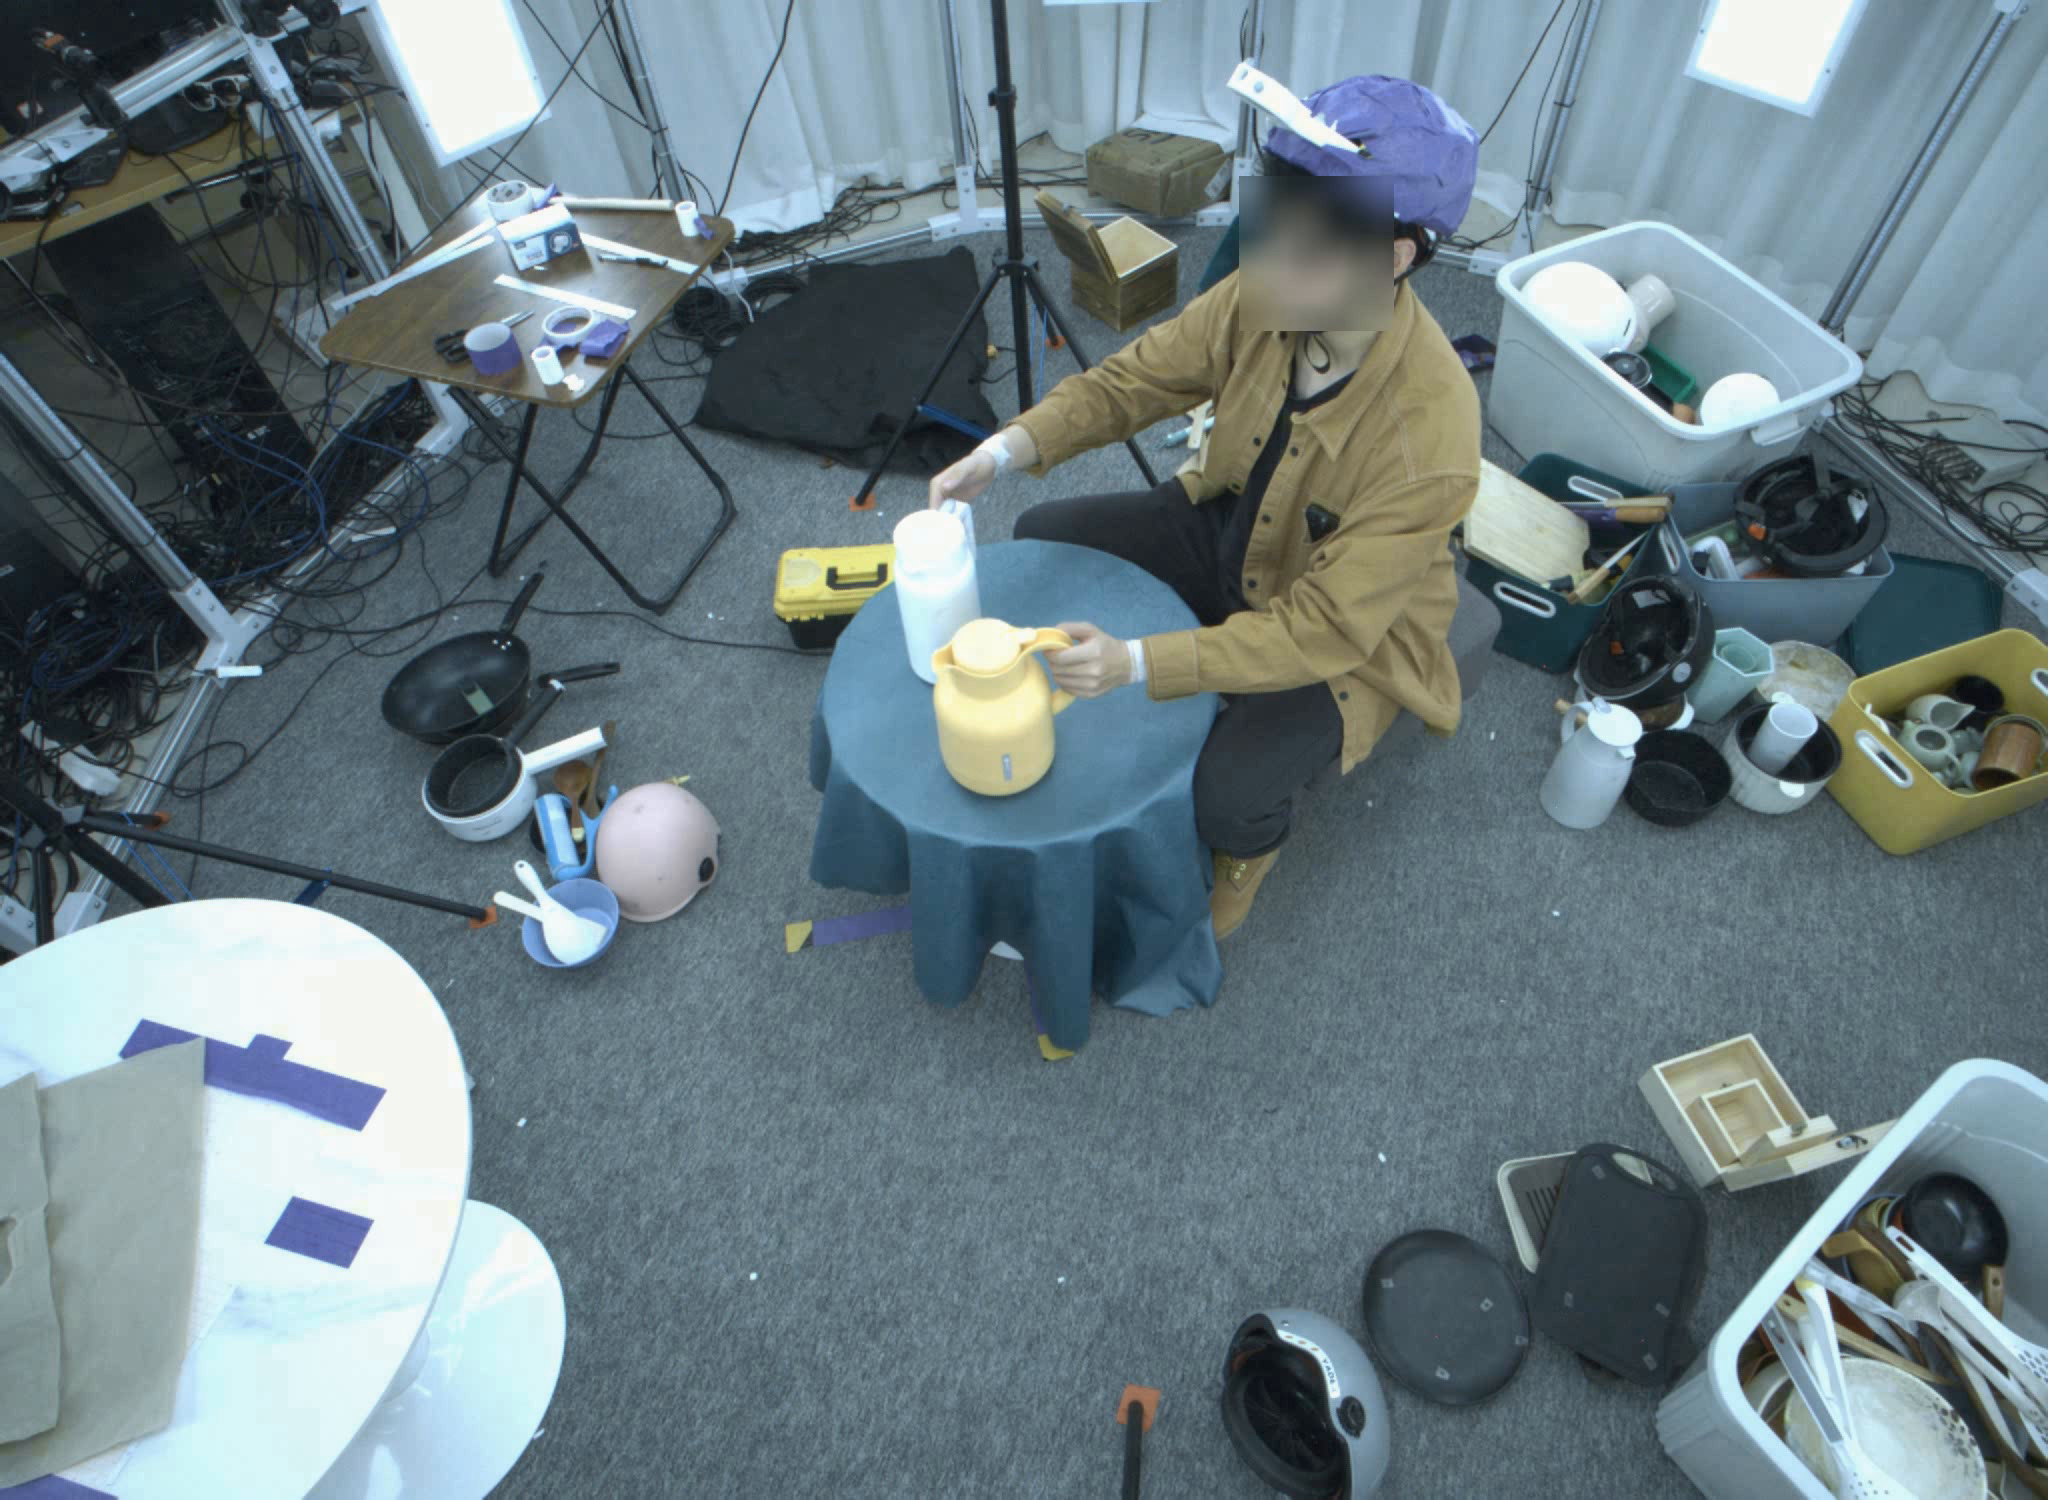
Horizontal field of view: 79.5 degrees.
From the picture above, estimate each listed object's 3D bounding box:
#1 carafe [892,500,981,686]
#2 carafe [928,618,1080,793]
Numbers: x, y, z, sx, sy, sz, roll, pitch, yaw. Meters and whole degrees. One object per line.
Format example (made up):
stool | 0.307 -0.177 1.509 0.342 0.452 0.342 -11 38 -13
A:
carafe | -0.121 -0.231 1.787 0.122 0.272 0.172 14 55 16
carafe | -0.023 -0.069 1.670 0.203 0.263 0.161 -13 57 -4
